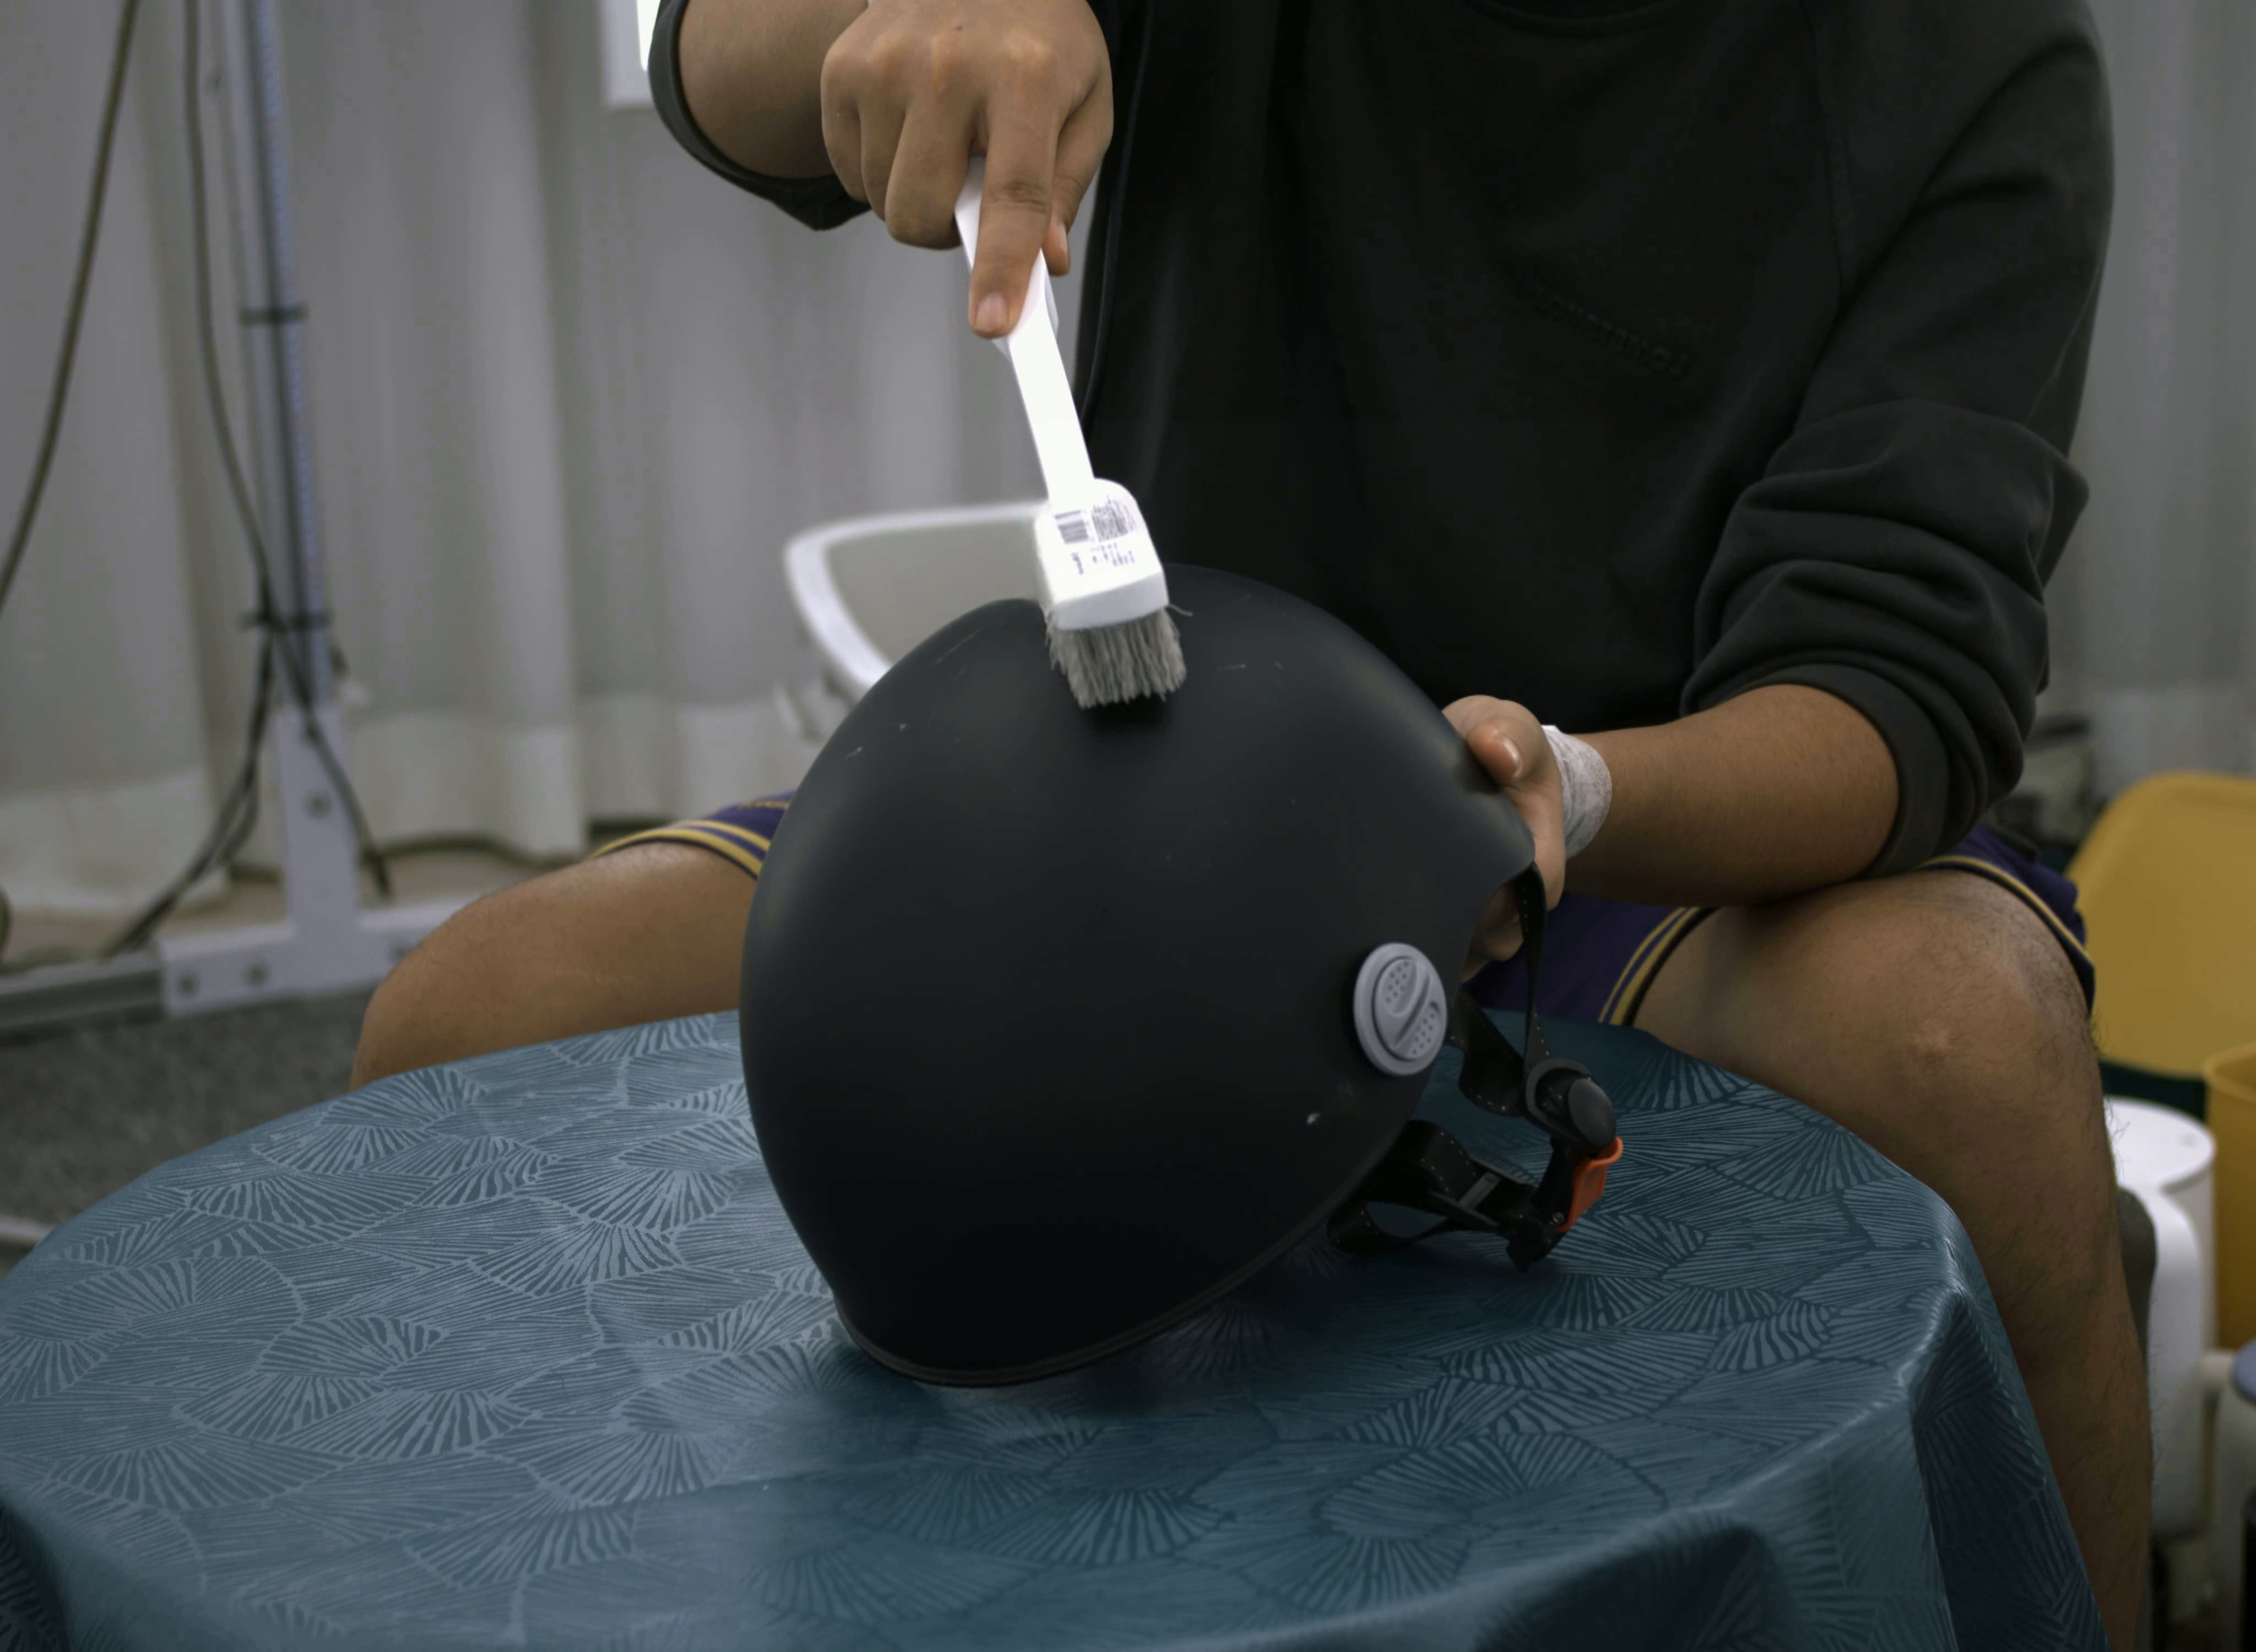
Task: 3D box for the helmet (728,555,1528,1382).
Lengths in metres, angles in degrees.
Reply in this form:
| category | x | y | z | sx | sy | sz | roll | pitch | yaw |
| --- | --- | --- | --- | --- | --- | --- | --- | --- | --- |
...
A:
| category | x | y | z | sx | sy | sz | roll | pitch | yaw |
| --- | --- | --- | --- | --- | --- | --- | --- | --- | --- |
| helmet | -0.016 | 0.021 | 1.607 | 0.230 | 0.165 | 0.275 | -13 | 28 | 36 |

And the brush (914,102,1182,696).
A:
| category | x | y | z | sx | sy | sz | roll | pitch | yaw |
| --- | --- | --- | --- | --- | --- | --- | --- | --- | --- |
| brush | -0.026 | -0.126 | 1.608 | 0.034 | 0.049 | 0.247 | -14 | 44 | -4 |
